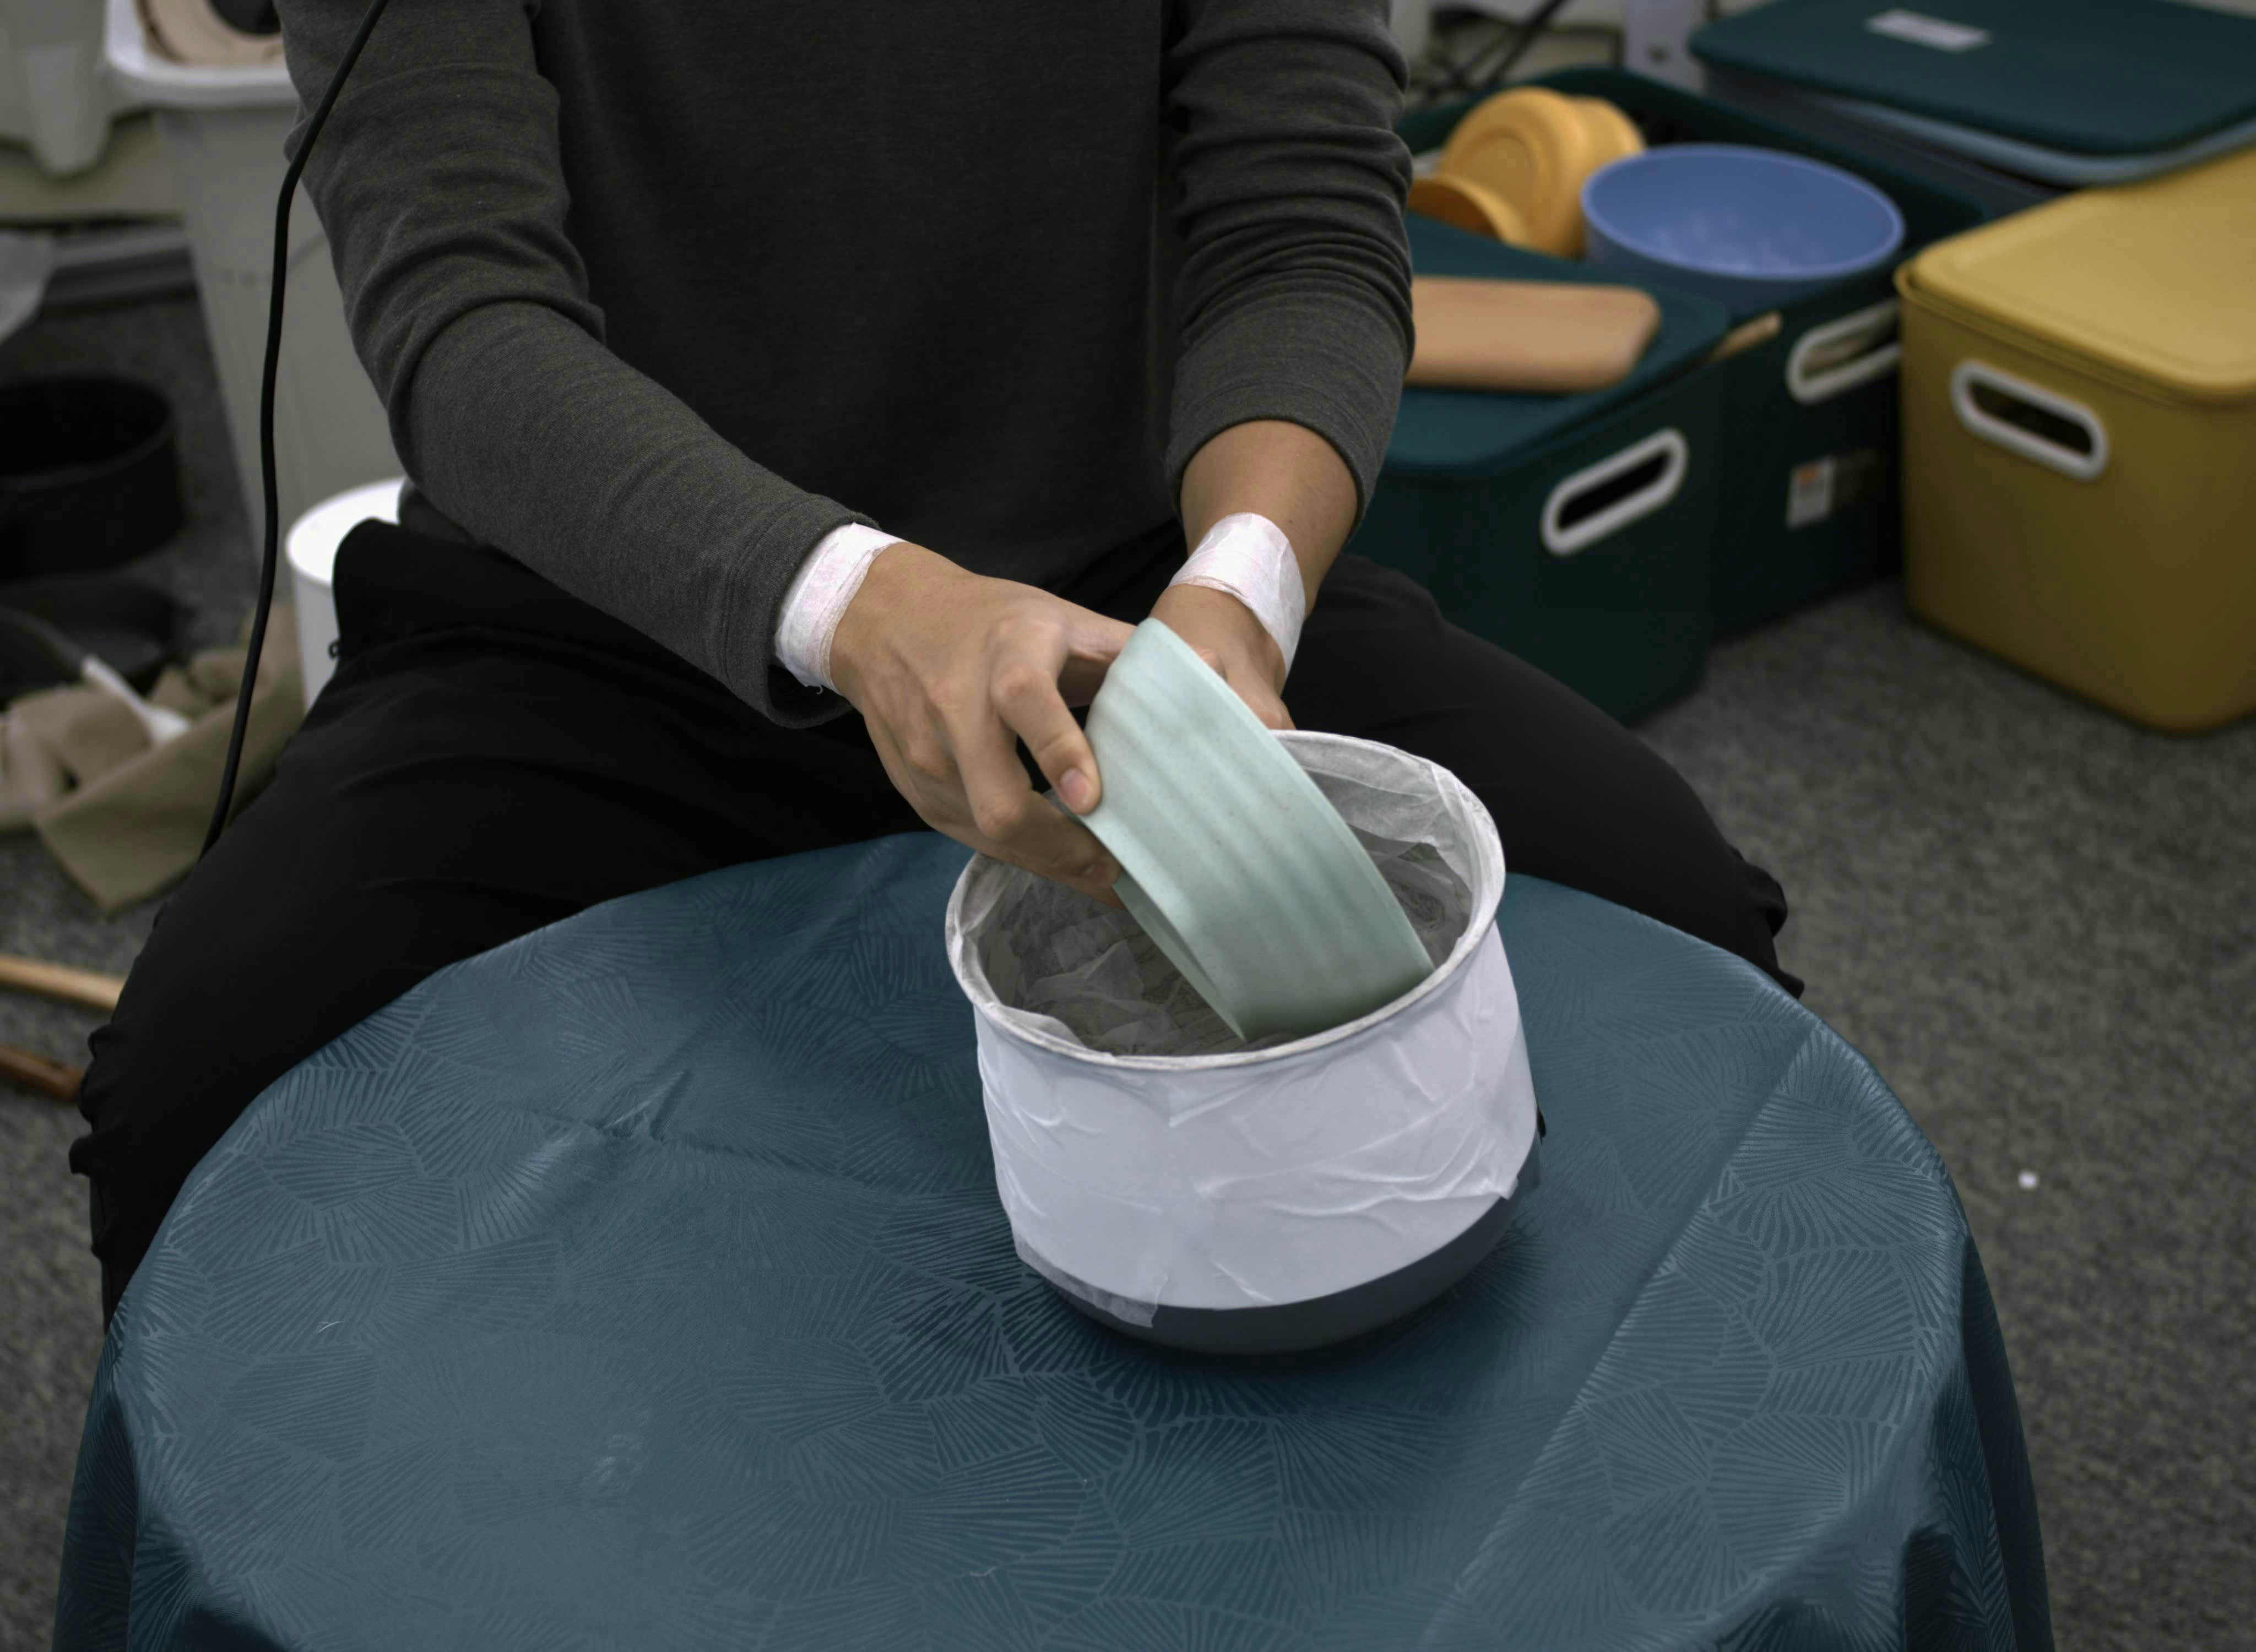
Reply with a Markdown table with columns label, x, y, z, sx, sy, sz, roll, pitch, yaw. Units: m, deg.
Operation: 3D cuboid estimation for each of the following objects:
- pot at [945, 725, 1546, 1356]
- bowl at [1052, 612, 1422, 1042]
| label | x | y | z | sx | sy | sz | roll | pitch | yaw |
| --- | --- | --- | --- | --- | --- | --- | --- | --- | --- |
| pot | 0.035 | 0.056 | 1.810 | 0.178 | 0.135 | 0.237 | -12 | 34 | -3 |
| bowl | 0.028 | 0.011 | 1.738 | 0.059 | 0.150 | 0.152 | -37 | 34 | -4 |
